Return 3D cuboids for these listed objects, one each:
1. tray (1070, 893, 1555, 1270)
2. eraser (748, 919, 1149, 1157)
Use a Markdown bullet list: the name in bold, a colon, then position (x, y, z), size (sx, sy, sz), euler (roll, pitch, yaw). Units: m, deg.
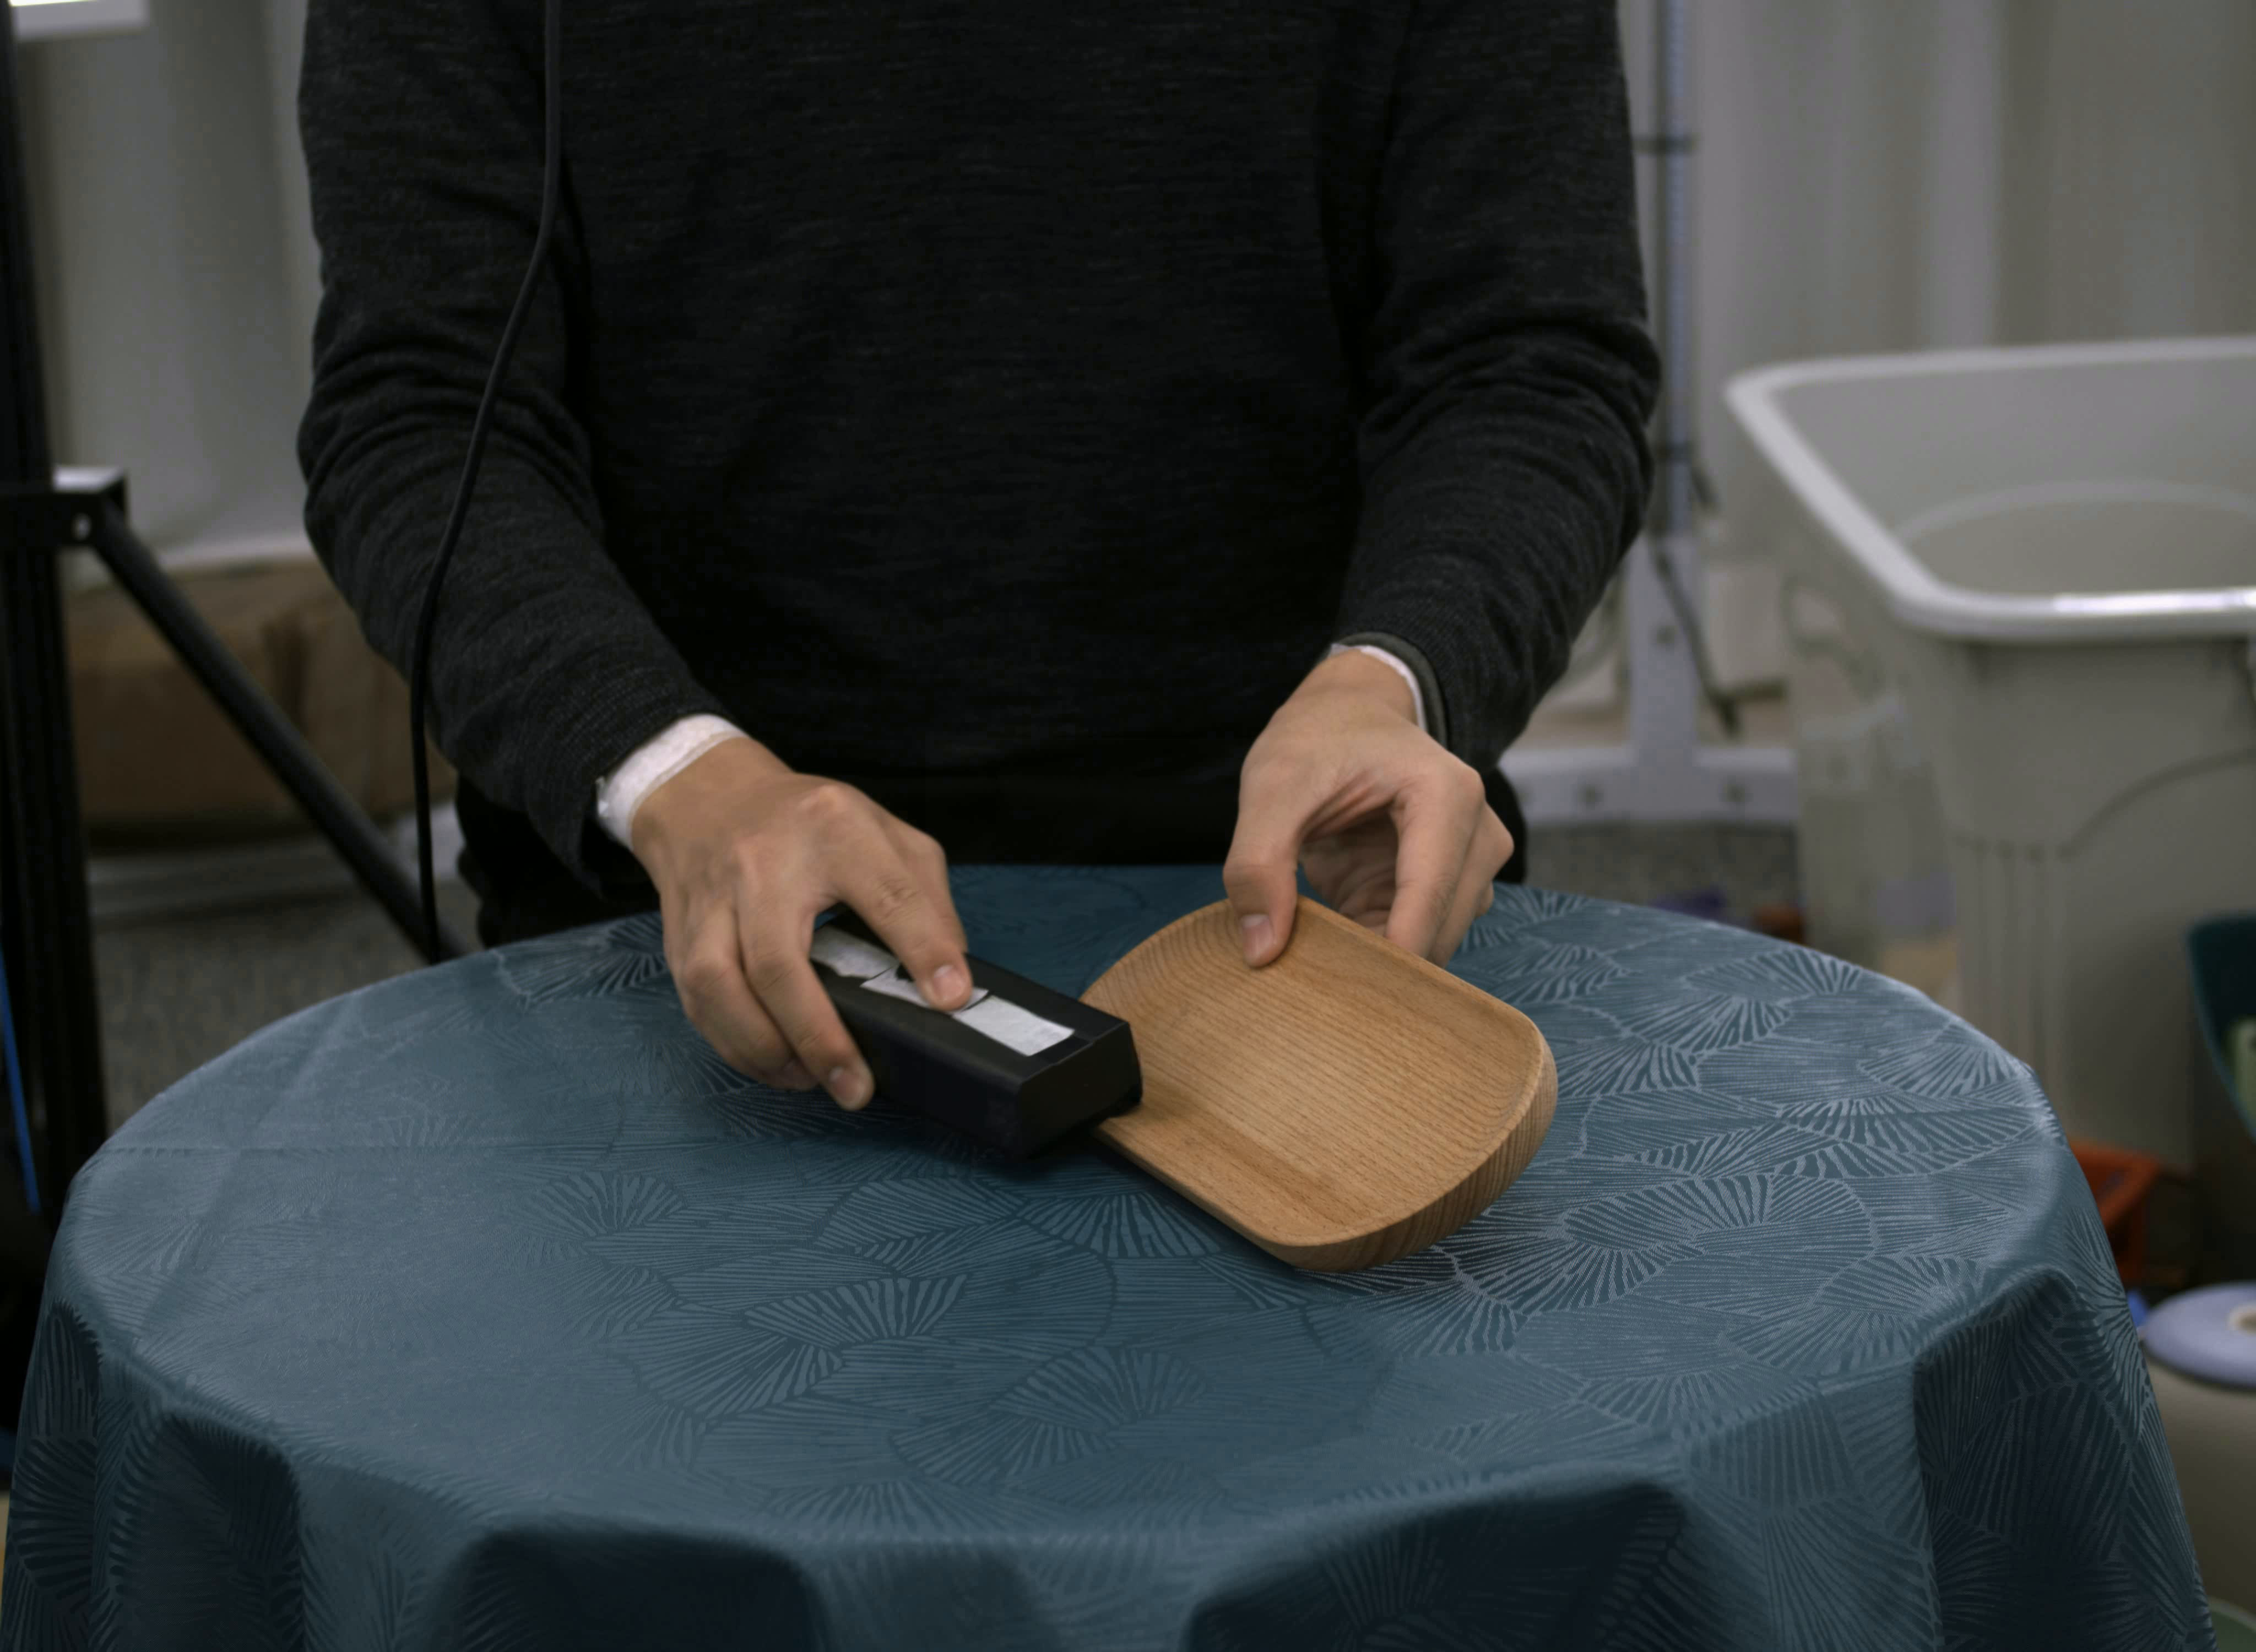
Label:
- **tray**: position (0.047, 0.074, 1.562), size (0.101, 0.020, 0.236), euler (-38, 25, -13)
- **eraser**: position (-0.054, 0.063, 1.615), size (0.052, 0.030, 0.128), euler (-25, 32, -38)
